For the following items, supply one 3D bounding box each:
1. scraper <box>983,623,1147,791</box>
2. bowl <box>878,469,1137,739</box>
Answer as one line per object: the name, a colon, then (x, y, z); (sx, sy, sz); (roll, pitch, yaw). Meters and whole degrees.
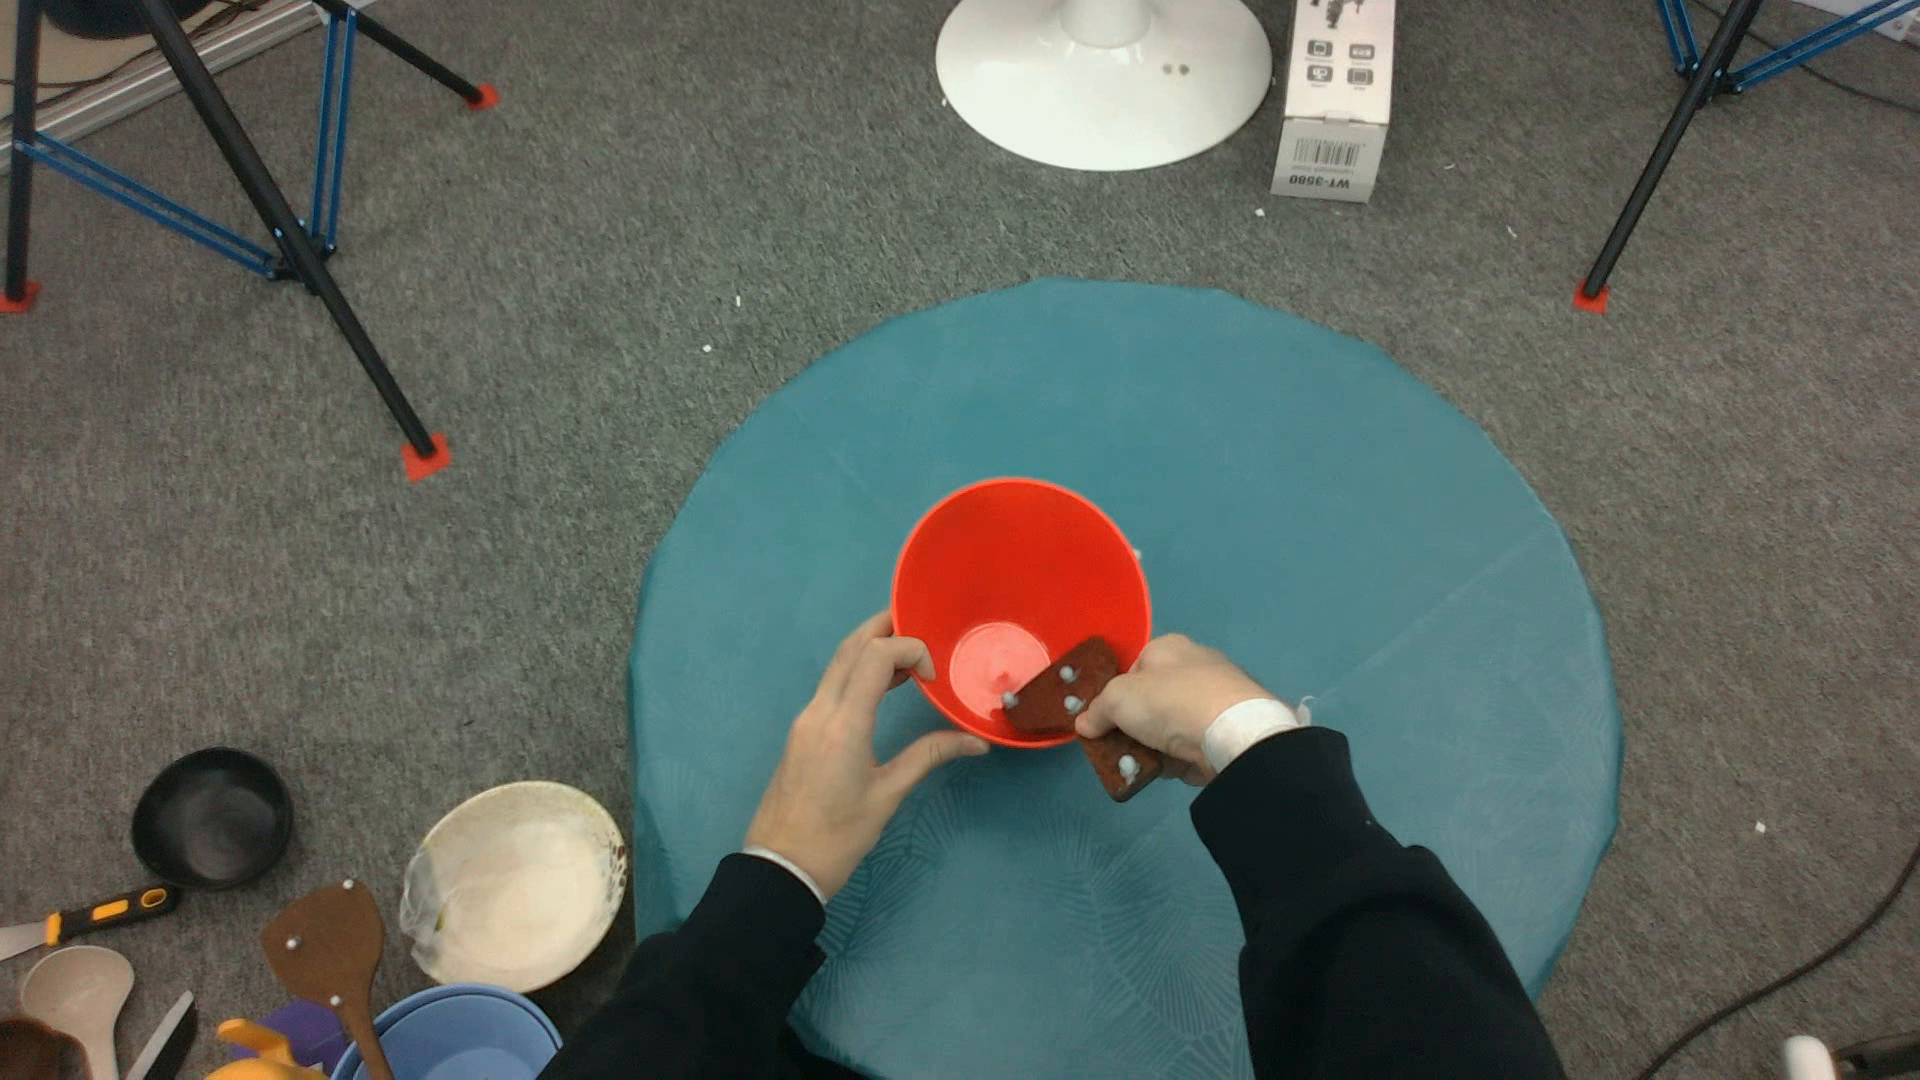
scraper: (0.059, 0.087, 0.708); (0.076, 0.211, 0.011); (-33, 102, -1)
bowl: (0.020, 0.048, 0.784); (0.148, 0.104, 0.148); (5, 66, -11)
